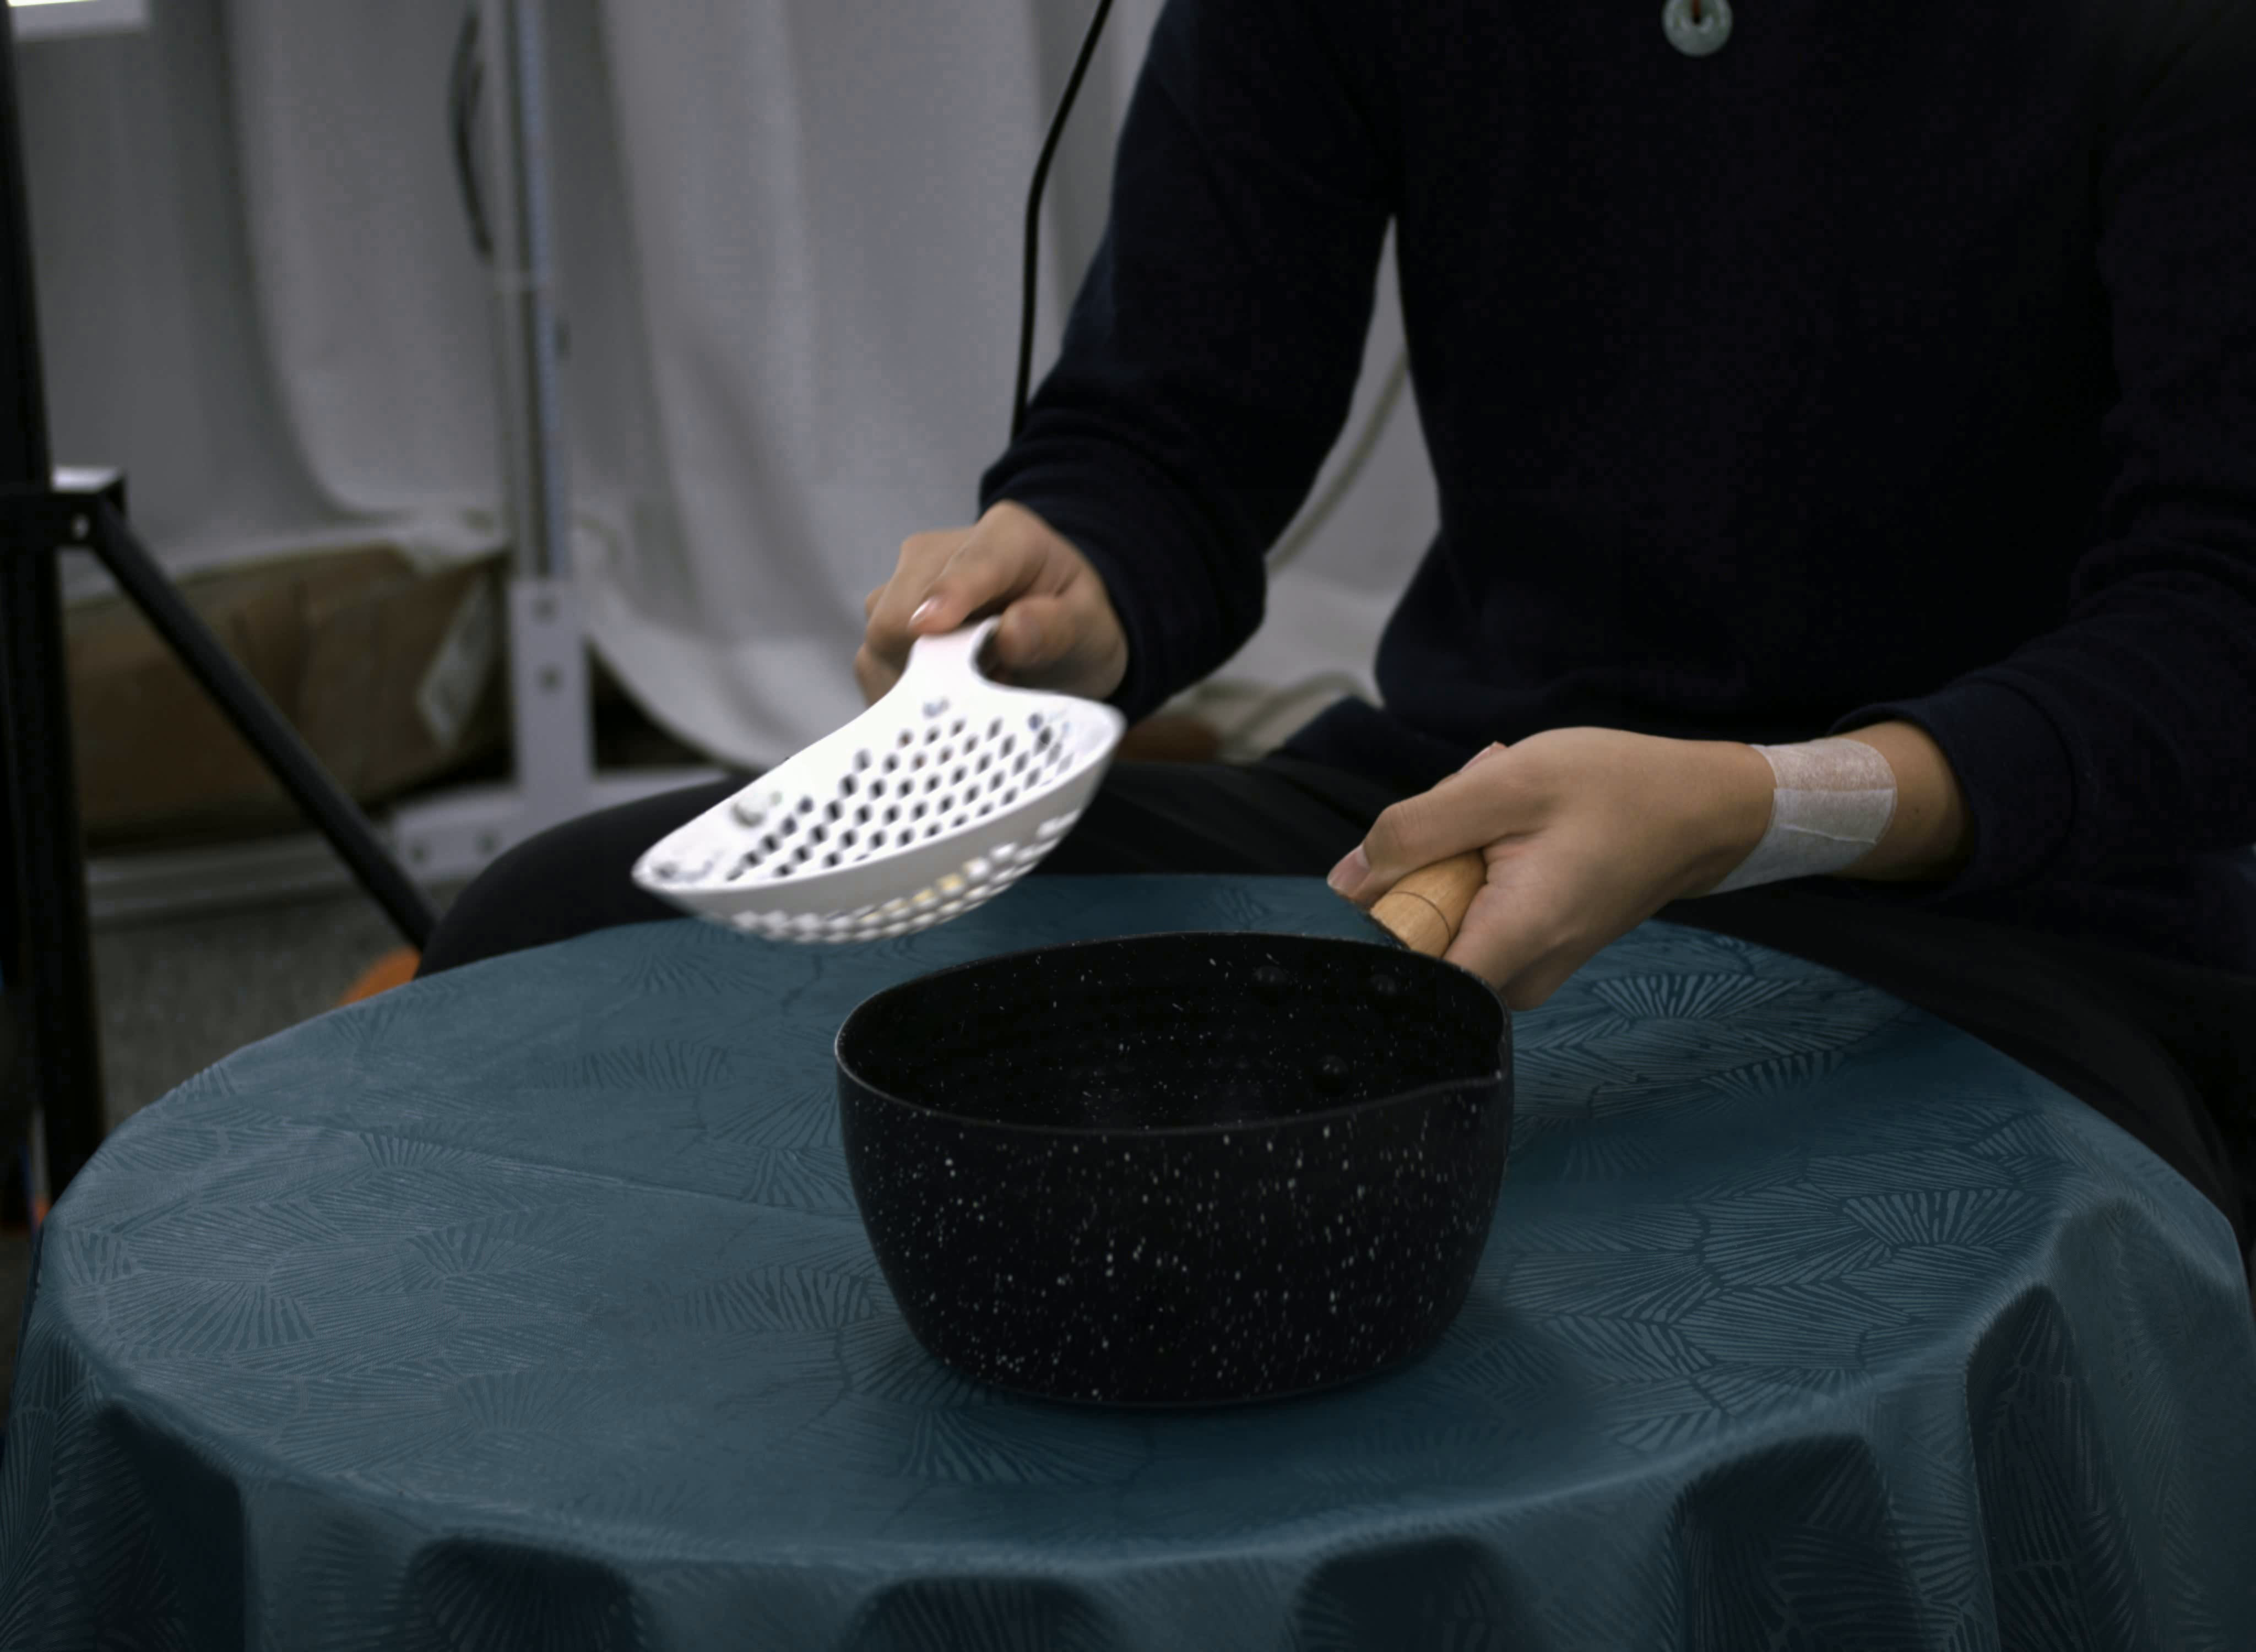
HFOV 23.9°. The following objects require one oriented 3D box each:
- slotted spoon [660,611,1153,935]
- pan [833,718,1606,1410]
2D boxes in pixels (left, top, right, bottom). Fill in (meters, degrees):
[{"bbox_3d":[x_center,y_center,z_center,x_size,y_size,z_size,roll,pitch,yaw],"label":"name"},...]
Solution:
[{"bbox_3d":[-0.052,-0.030,1.518,0.137,0.050,0.349,-17,17,6],"label":"slotted spoon"},{"bbox_3d":[0.053,0.062,1.507,0.211,0.108,0.337,4,17,30],"label":"pan"}]
